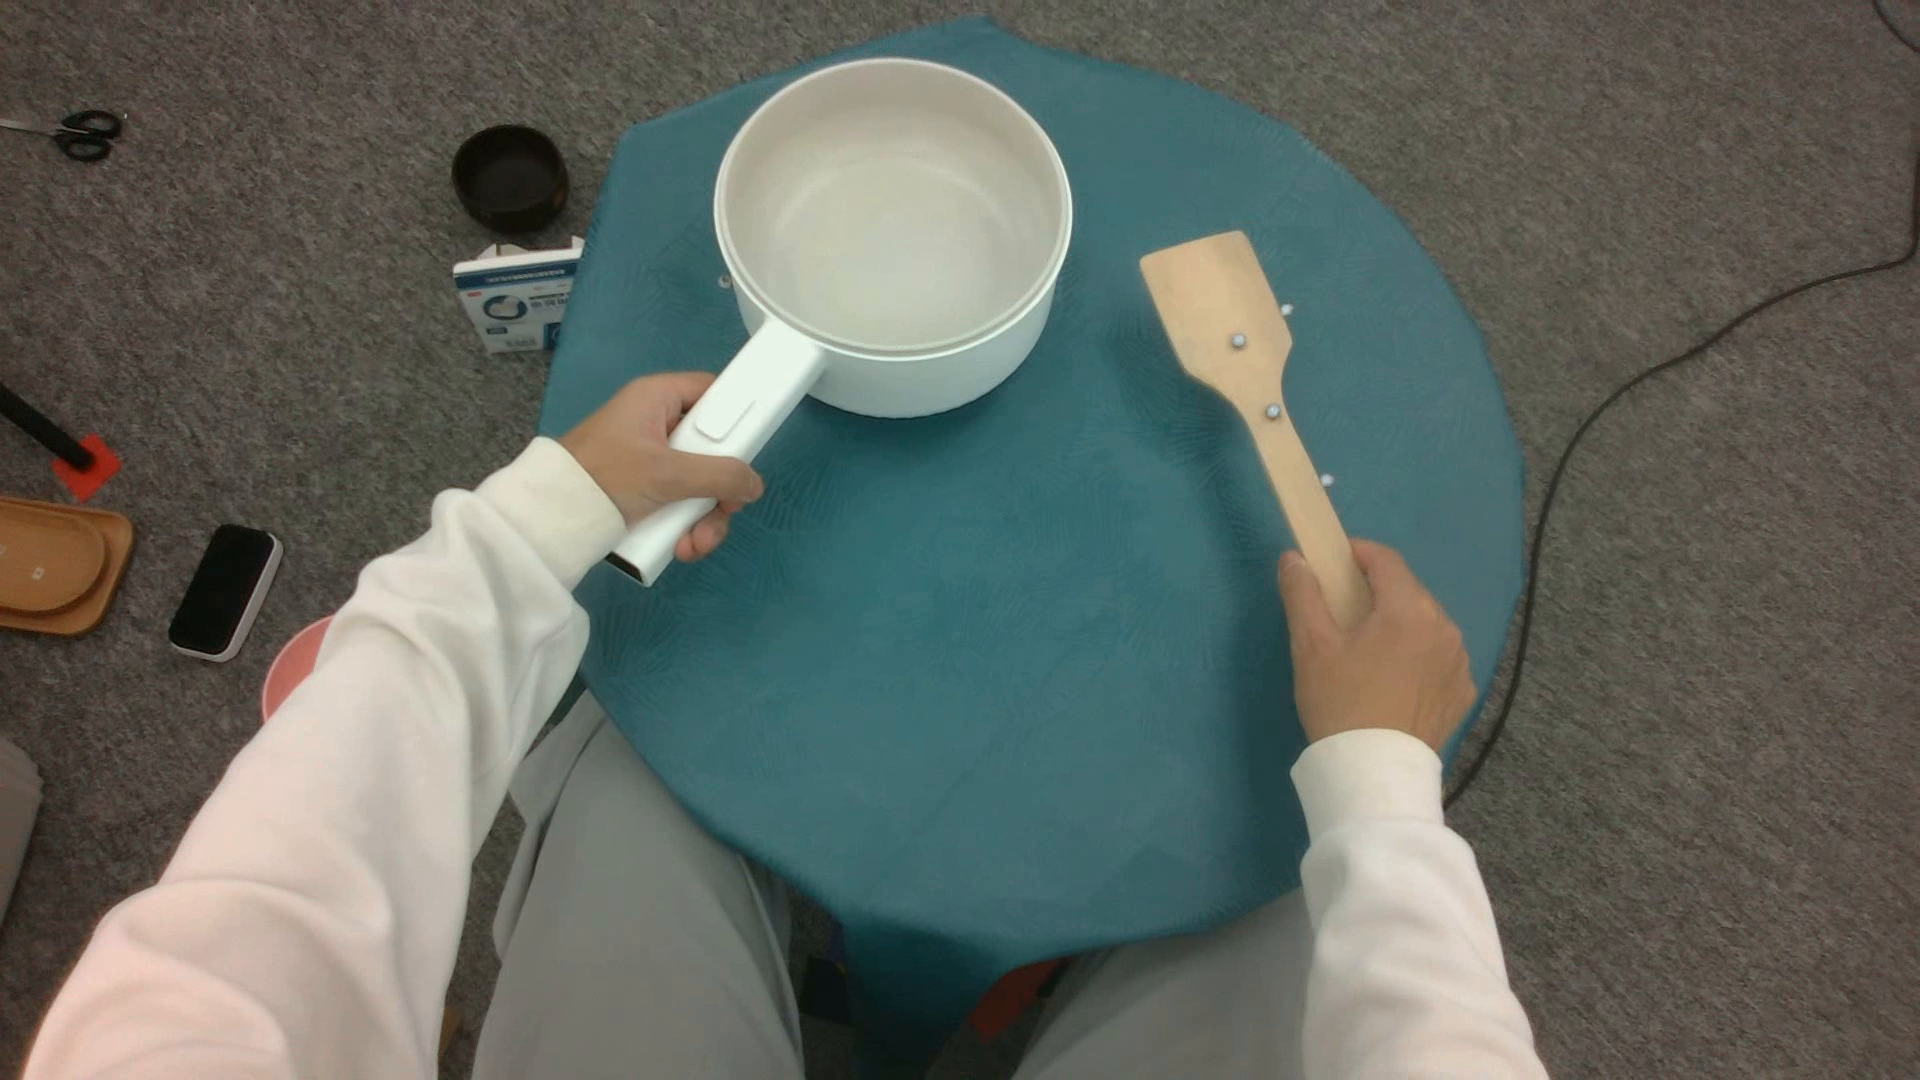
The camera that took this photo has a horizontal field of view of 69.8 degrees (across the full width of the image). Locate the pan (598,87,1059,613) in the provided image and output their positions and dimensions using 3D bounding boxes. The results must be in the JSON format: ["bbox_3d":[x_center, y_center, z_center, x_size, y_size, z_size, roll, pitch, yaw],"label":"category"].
[{"bbox_3d":[-0.084,-0.102,0.813,0.201,0.102,0.356,30,71,7],"label":"pan"}]

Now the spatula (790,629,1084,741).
[{"bbox_3d":[-0.025,0.134,1.358,0.293,0.010,0.072,13,68,3],"label":"spatula"}]
